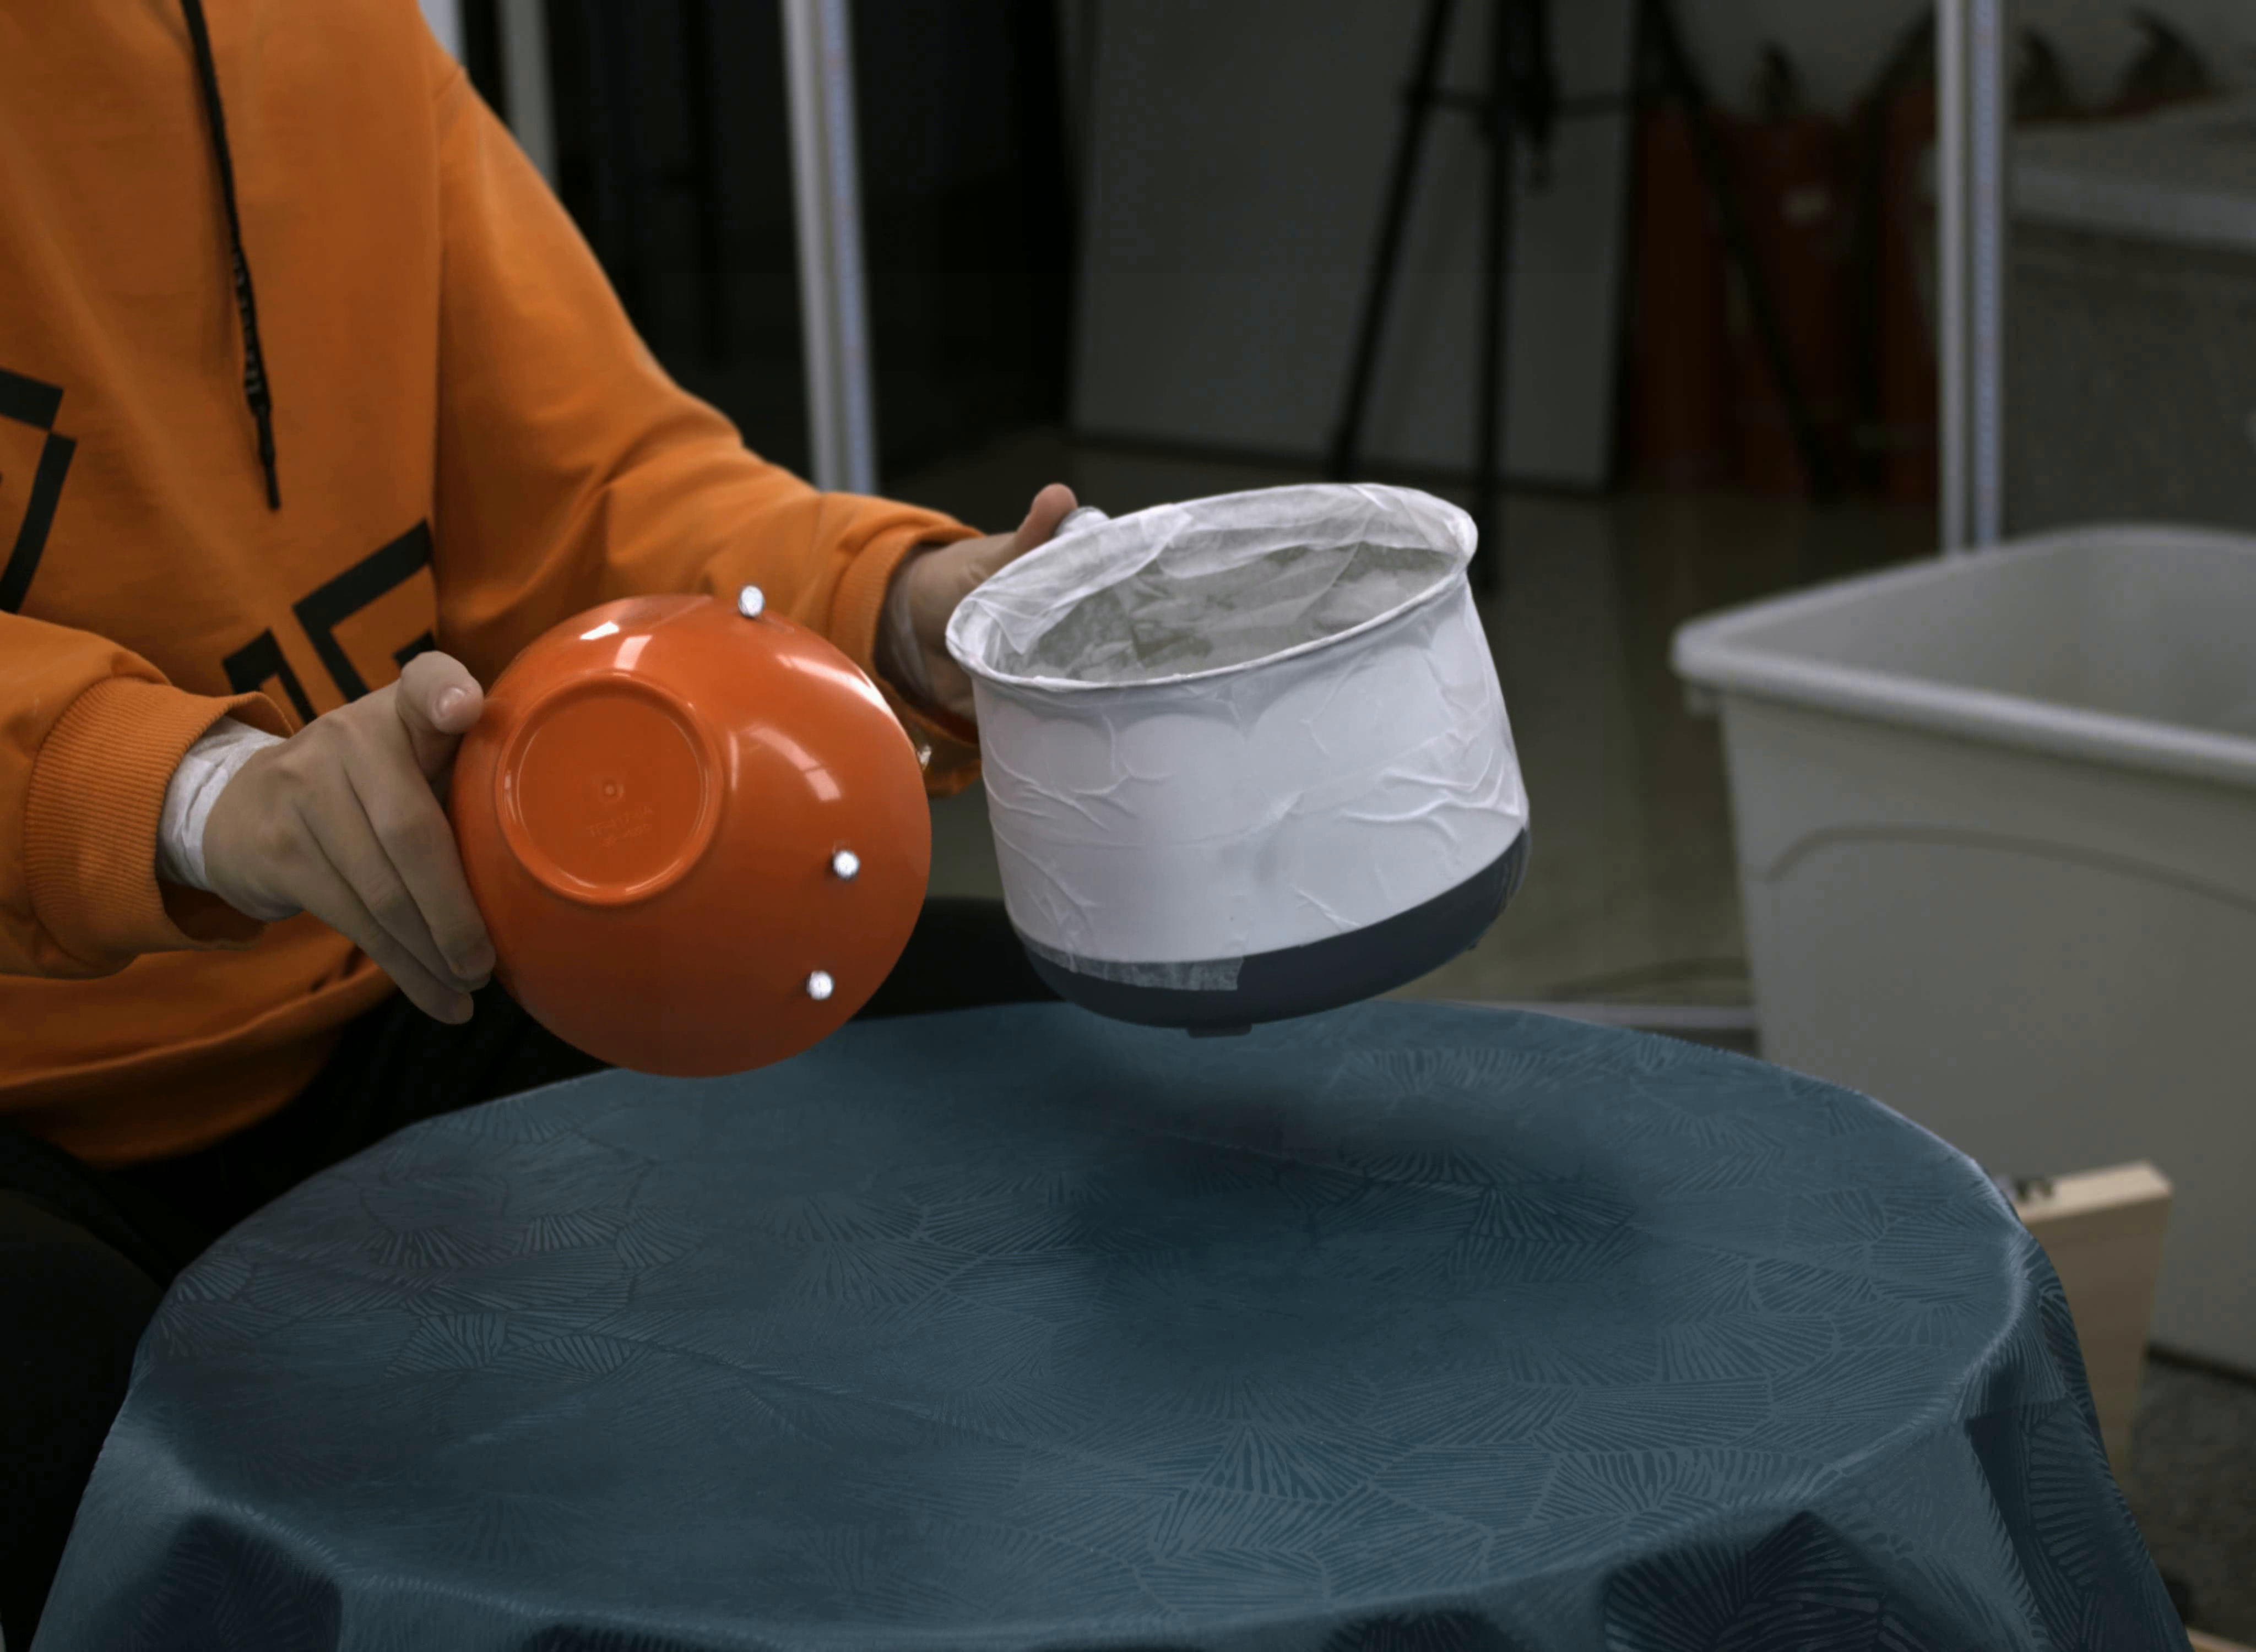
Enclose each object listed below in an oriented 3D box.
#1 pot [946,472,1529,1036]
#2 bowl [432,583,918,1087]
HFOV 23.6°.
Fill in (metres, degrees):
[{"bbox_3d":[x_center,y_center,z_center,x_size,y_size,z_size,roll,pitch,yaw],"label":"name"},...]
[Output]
[{"bbox_3d":[0.026,-0.030,1.787,0.175,0.137,0.236,-20,21,-21],"label":"pot"},{"bbox_3d":[-0.140,-0.005,1.577,0.147,0.150,0.104,-2,-10,8],"label":"bowl"}]
